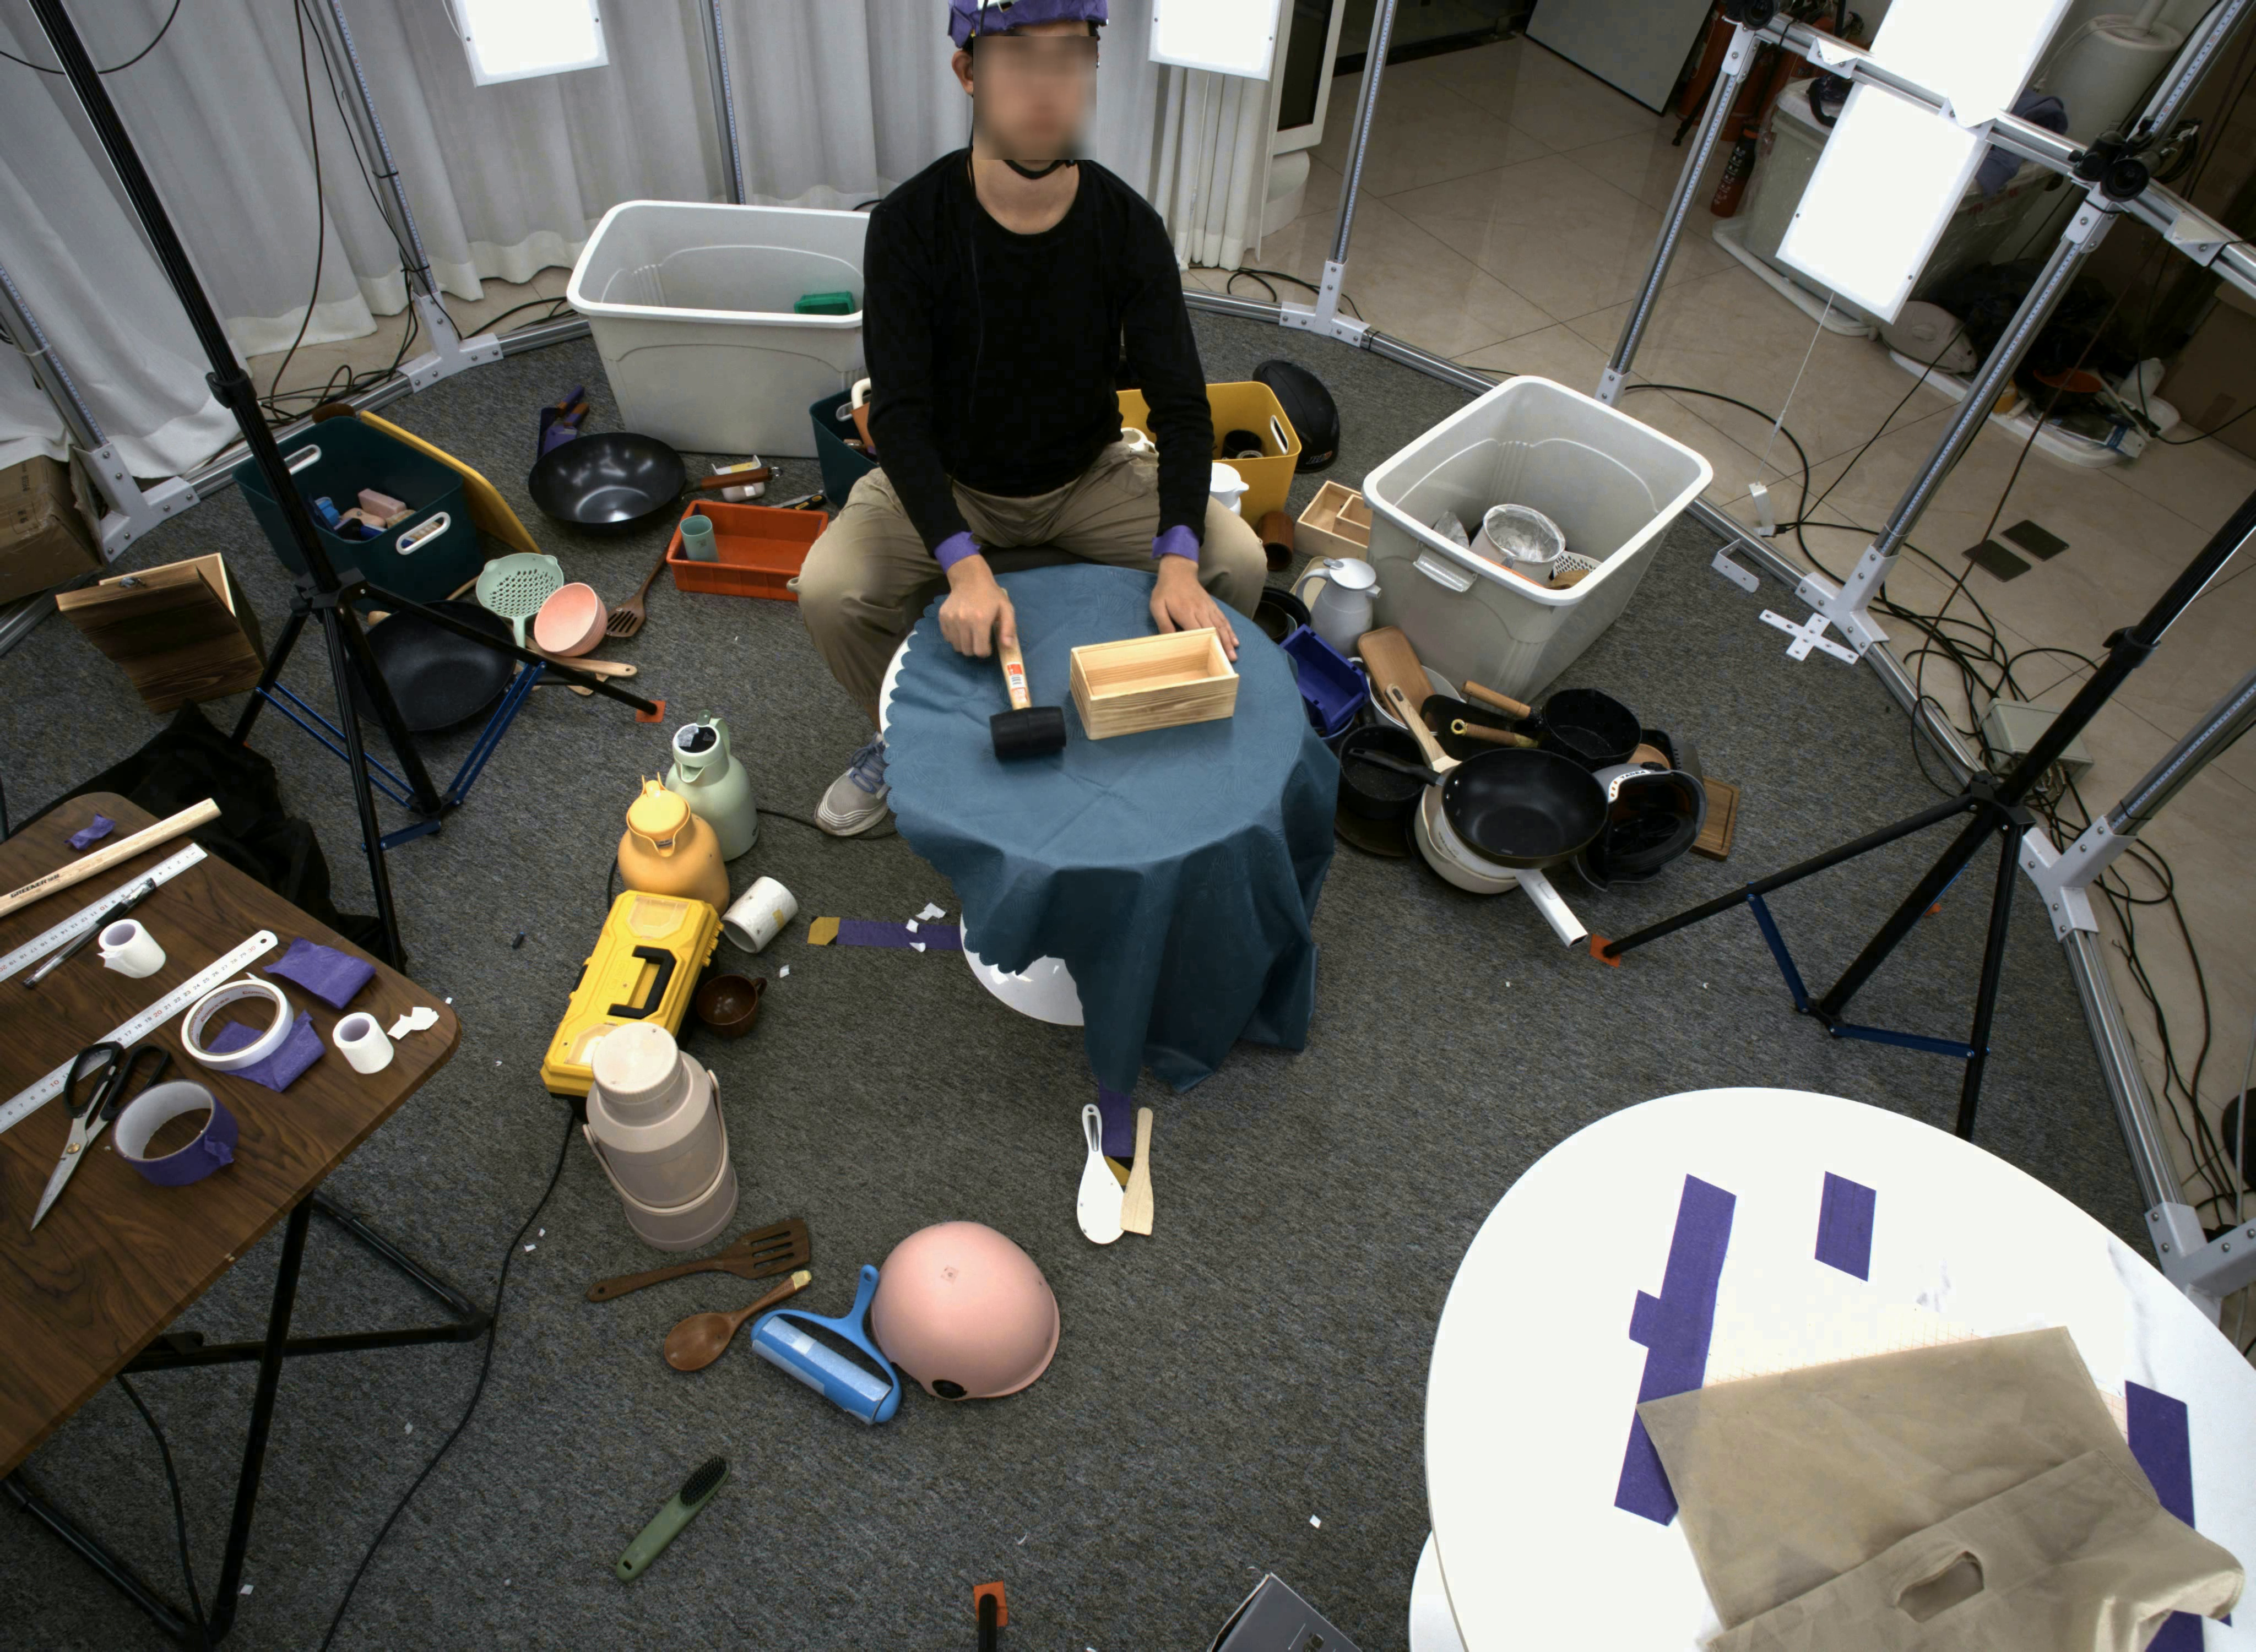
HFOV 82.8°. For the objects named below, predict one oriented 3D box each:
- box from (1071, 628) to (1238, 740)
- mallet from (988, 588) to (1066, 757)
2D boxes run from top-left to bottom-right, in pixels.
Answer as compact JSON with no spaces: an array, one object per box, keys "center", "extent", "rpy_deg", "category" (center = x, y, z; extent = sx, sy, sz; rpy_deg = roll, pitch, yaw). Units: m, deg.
[{"center":[0.034,-0.200,1.793],"extent":[0.211,0.078,0.110],"rpy_deg":[-10,50,-12],"category":"box"},{"center":[-0.162,-0.231,1.821],"extent":[0.102,0.063,0.347],"rpy_deg":[-6,49,-8],"category":"mallet"}]
